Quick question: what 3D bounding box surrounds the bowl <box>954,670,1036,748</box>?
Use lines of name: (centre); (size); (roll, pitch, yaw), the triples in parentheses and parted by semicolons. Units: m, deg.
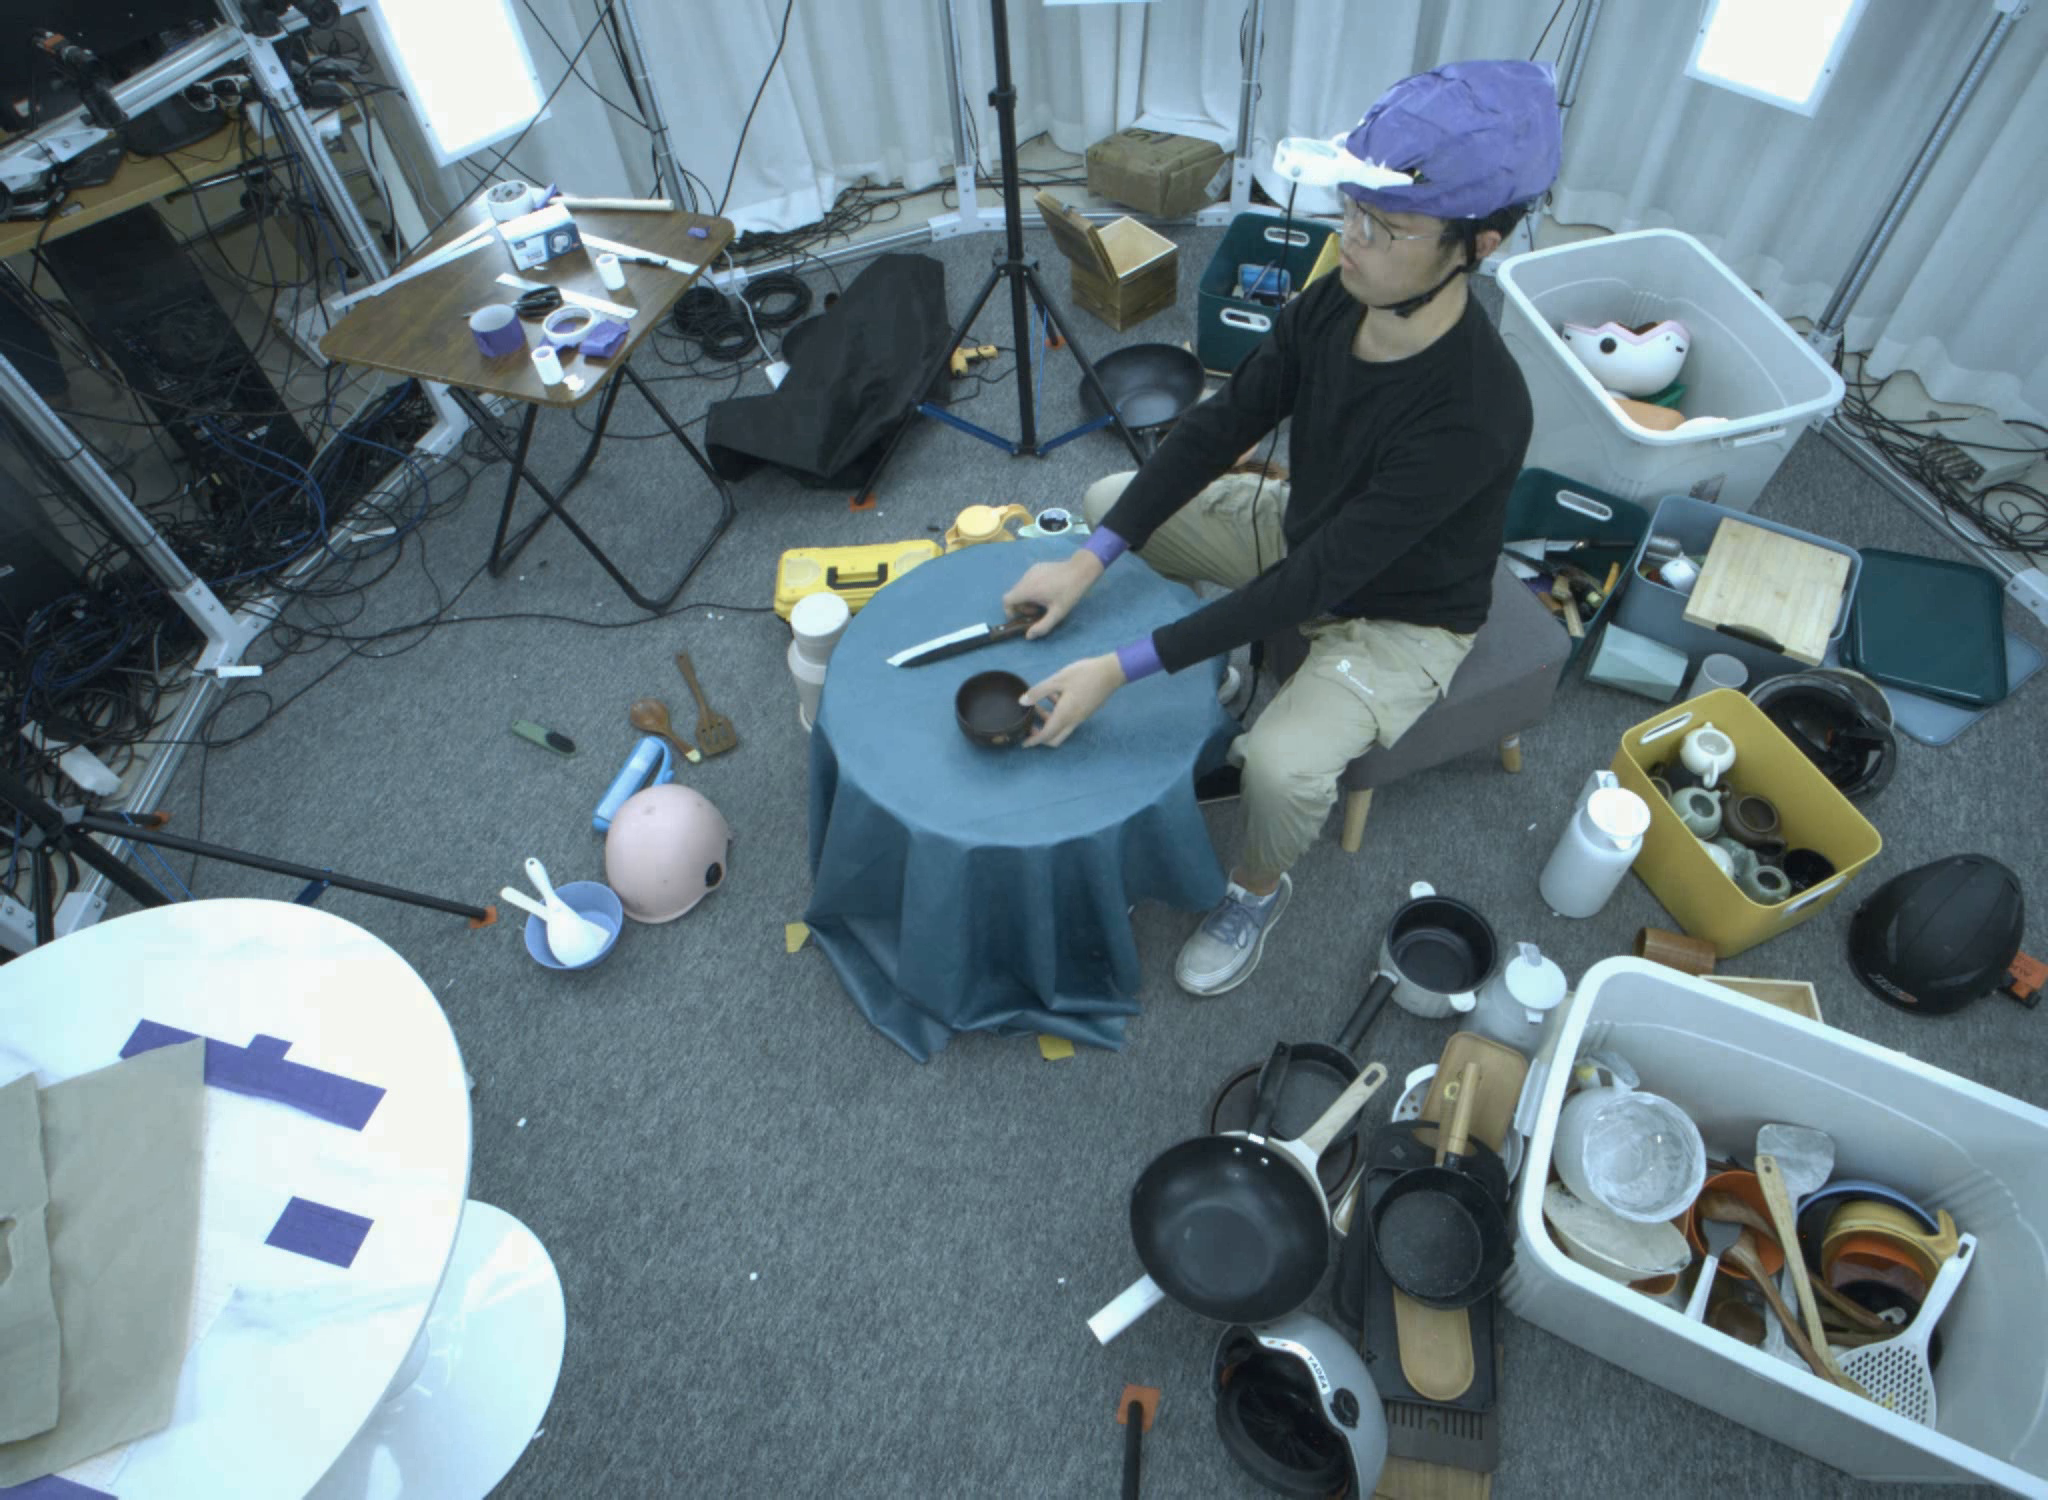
bowl: (-0.041, -0.051, 1.778); (0.118, 0.070, 0.117); (0, 53, 1)

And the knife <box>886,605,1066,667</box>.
knife: (-0.074, -0.175, 1.902); (0.290, 0.020, 0.049); (-17, 48, -7)
